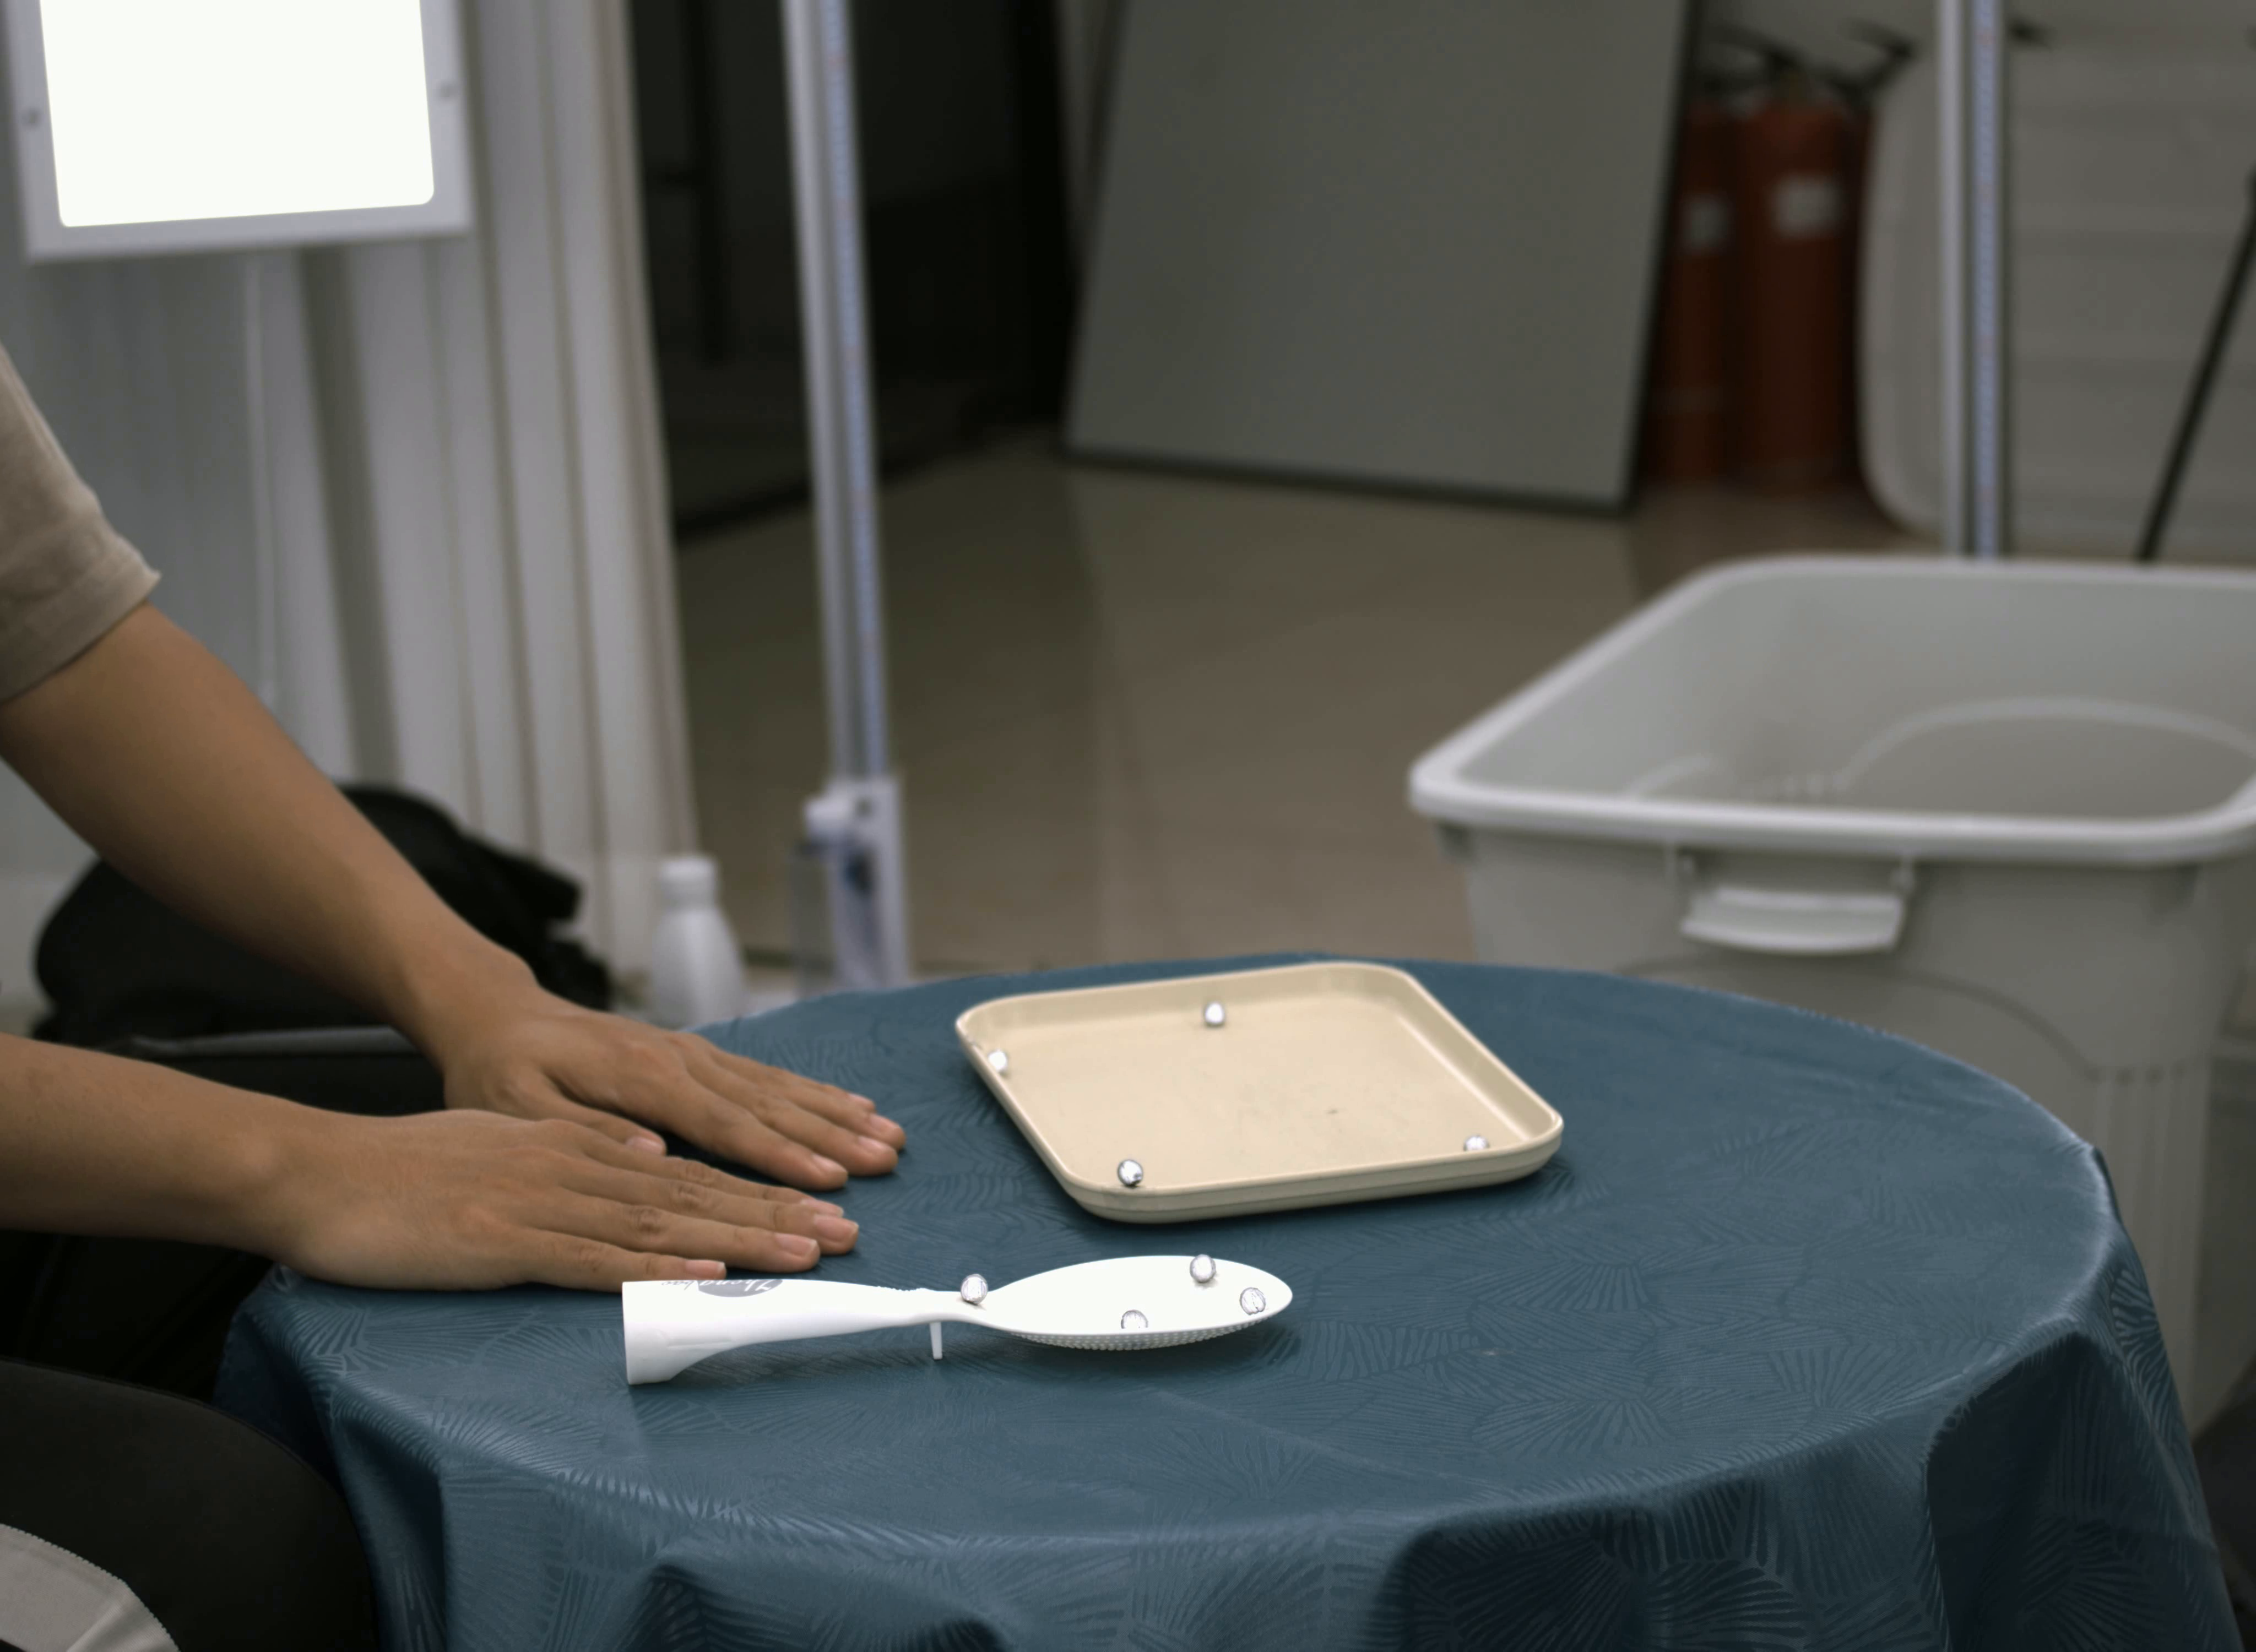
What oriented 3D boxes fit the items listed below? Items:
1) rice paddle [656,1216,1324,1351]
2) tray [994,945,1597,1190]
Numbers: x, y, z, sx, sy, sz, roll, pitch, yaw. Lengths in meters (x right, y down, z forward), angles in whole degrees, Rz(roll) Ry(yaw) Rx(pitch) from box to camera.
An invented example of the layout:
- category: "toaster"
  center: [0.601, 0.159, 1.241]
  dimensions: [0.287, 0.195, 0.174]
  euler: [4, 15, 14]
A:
- category: "rice paddle"
  center: [-0.041, 0.134, 1.637]
  dimensions: [0.202, 0.030, 0.069]
  euler: [-4, 15, -2]
- category: "tray"
  center: [0.054, 0.083, 1.858]
  dimensions: [0.168, 0.018, 0.241]
  euler: [-6, 13, -11]
